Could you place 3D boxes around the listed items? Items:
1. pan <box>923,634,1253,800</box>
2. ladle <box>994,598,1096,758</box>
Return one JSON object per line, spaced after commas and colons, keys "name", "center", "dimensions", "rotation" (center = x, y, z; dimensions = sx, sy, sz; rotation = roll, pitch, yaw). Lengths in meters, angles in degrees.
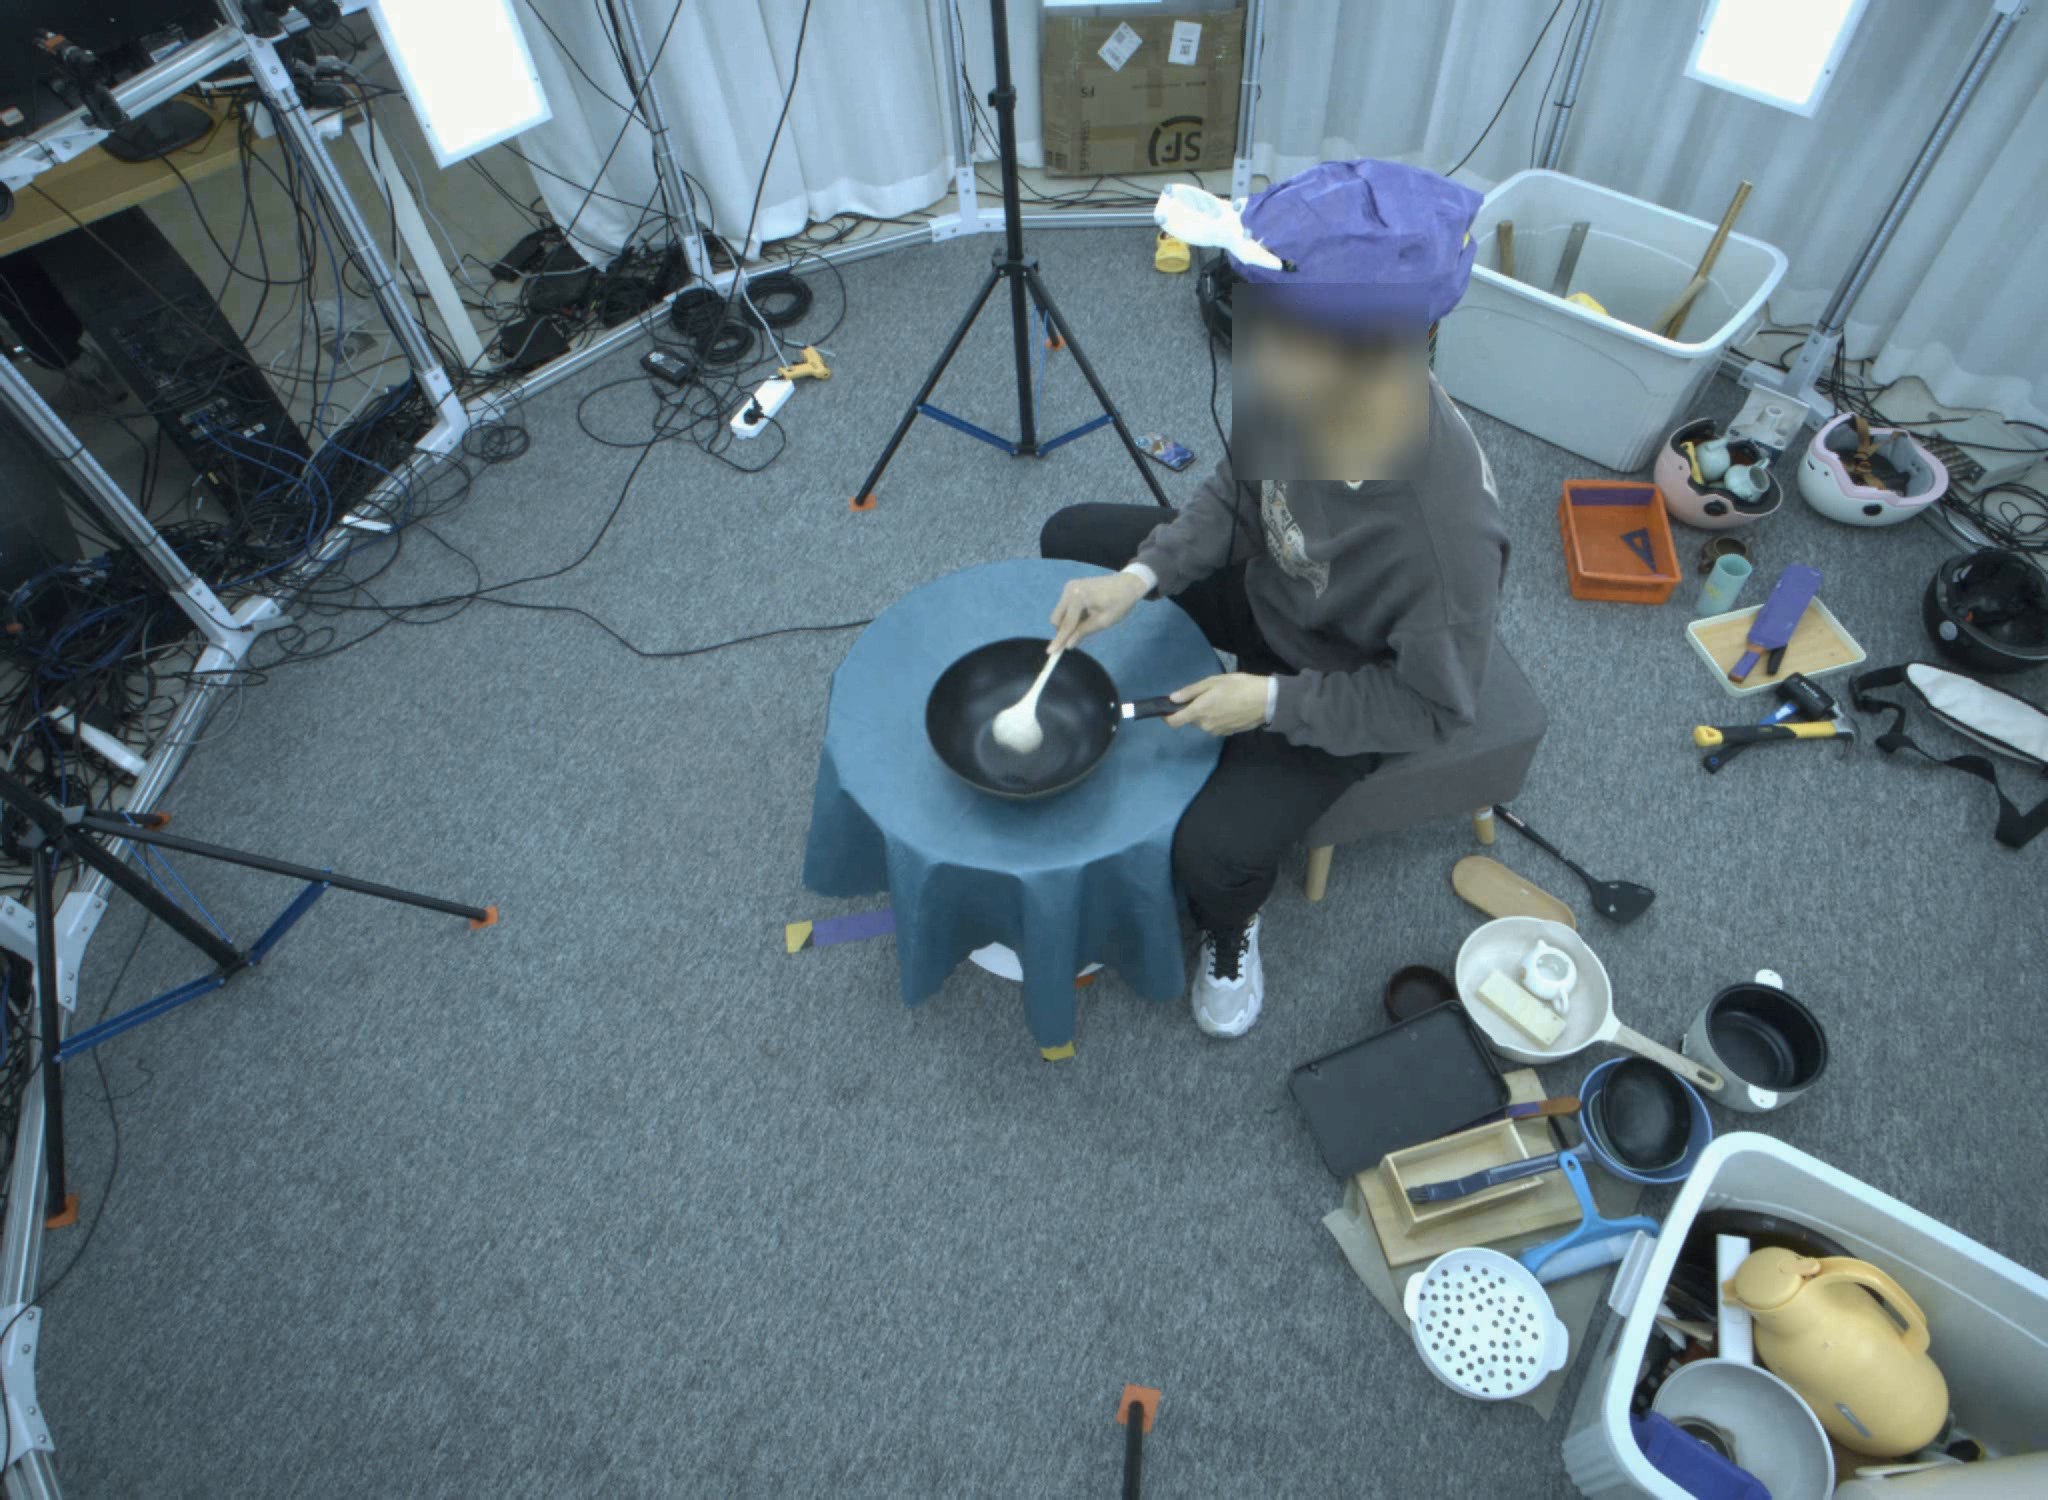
{"name": "pan", "center": [0.091, -0.038, 1.758], "dimensions": [0.464, 0.088, 0.285], "rotation": [-2, 54, -1]}
{"name": "ladle", "center": [0.040, -0.102, 1.757], "dimensions": [0.071, 0.073, 0.254], "rotation": [26, 69, 12]}
